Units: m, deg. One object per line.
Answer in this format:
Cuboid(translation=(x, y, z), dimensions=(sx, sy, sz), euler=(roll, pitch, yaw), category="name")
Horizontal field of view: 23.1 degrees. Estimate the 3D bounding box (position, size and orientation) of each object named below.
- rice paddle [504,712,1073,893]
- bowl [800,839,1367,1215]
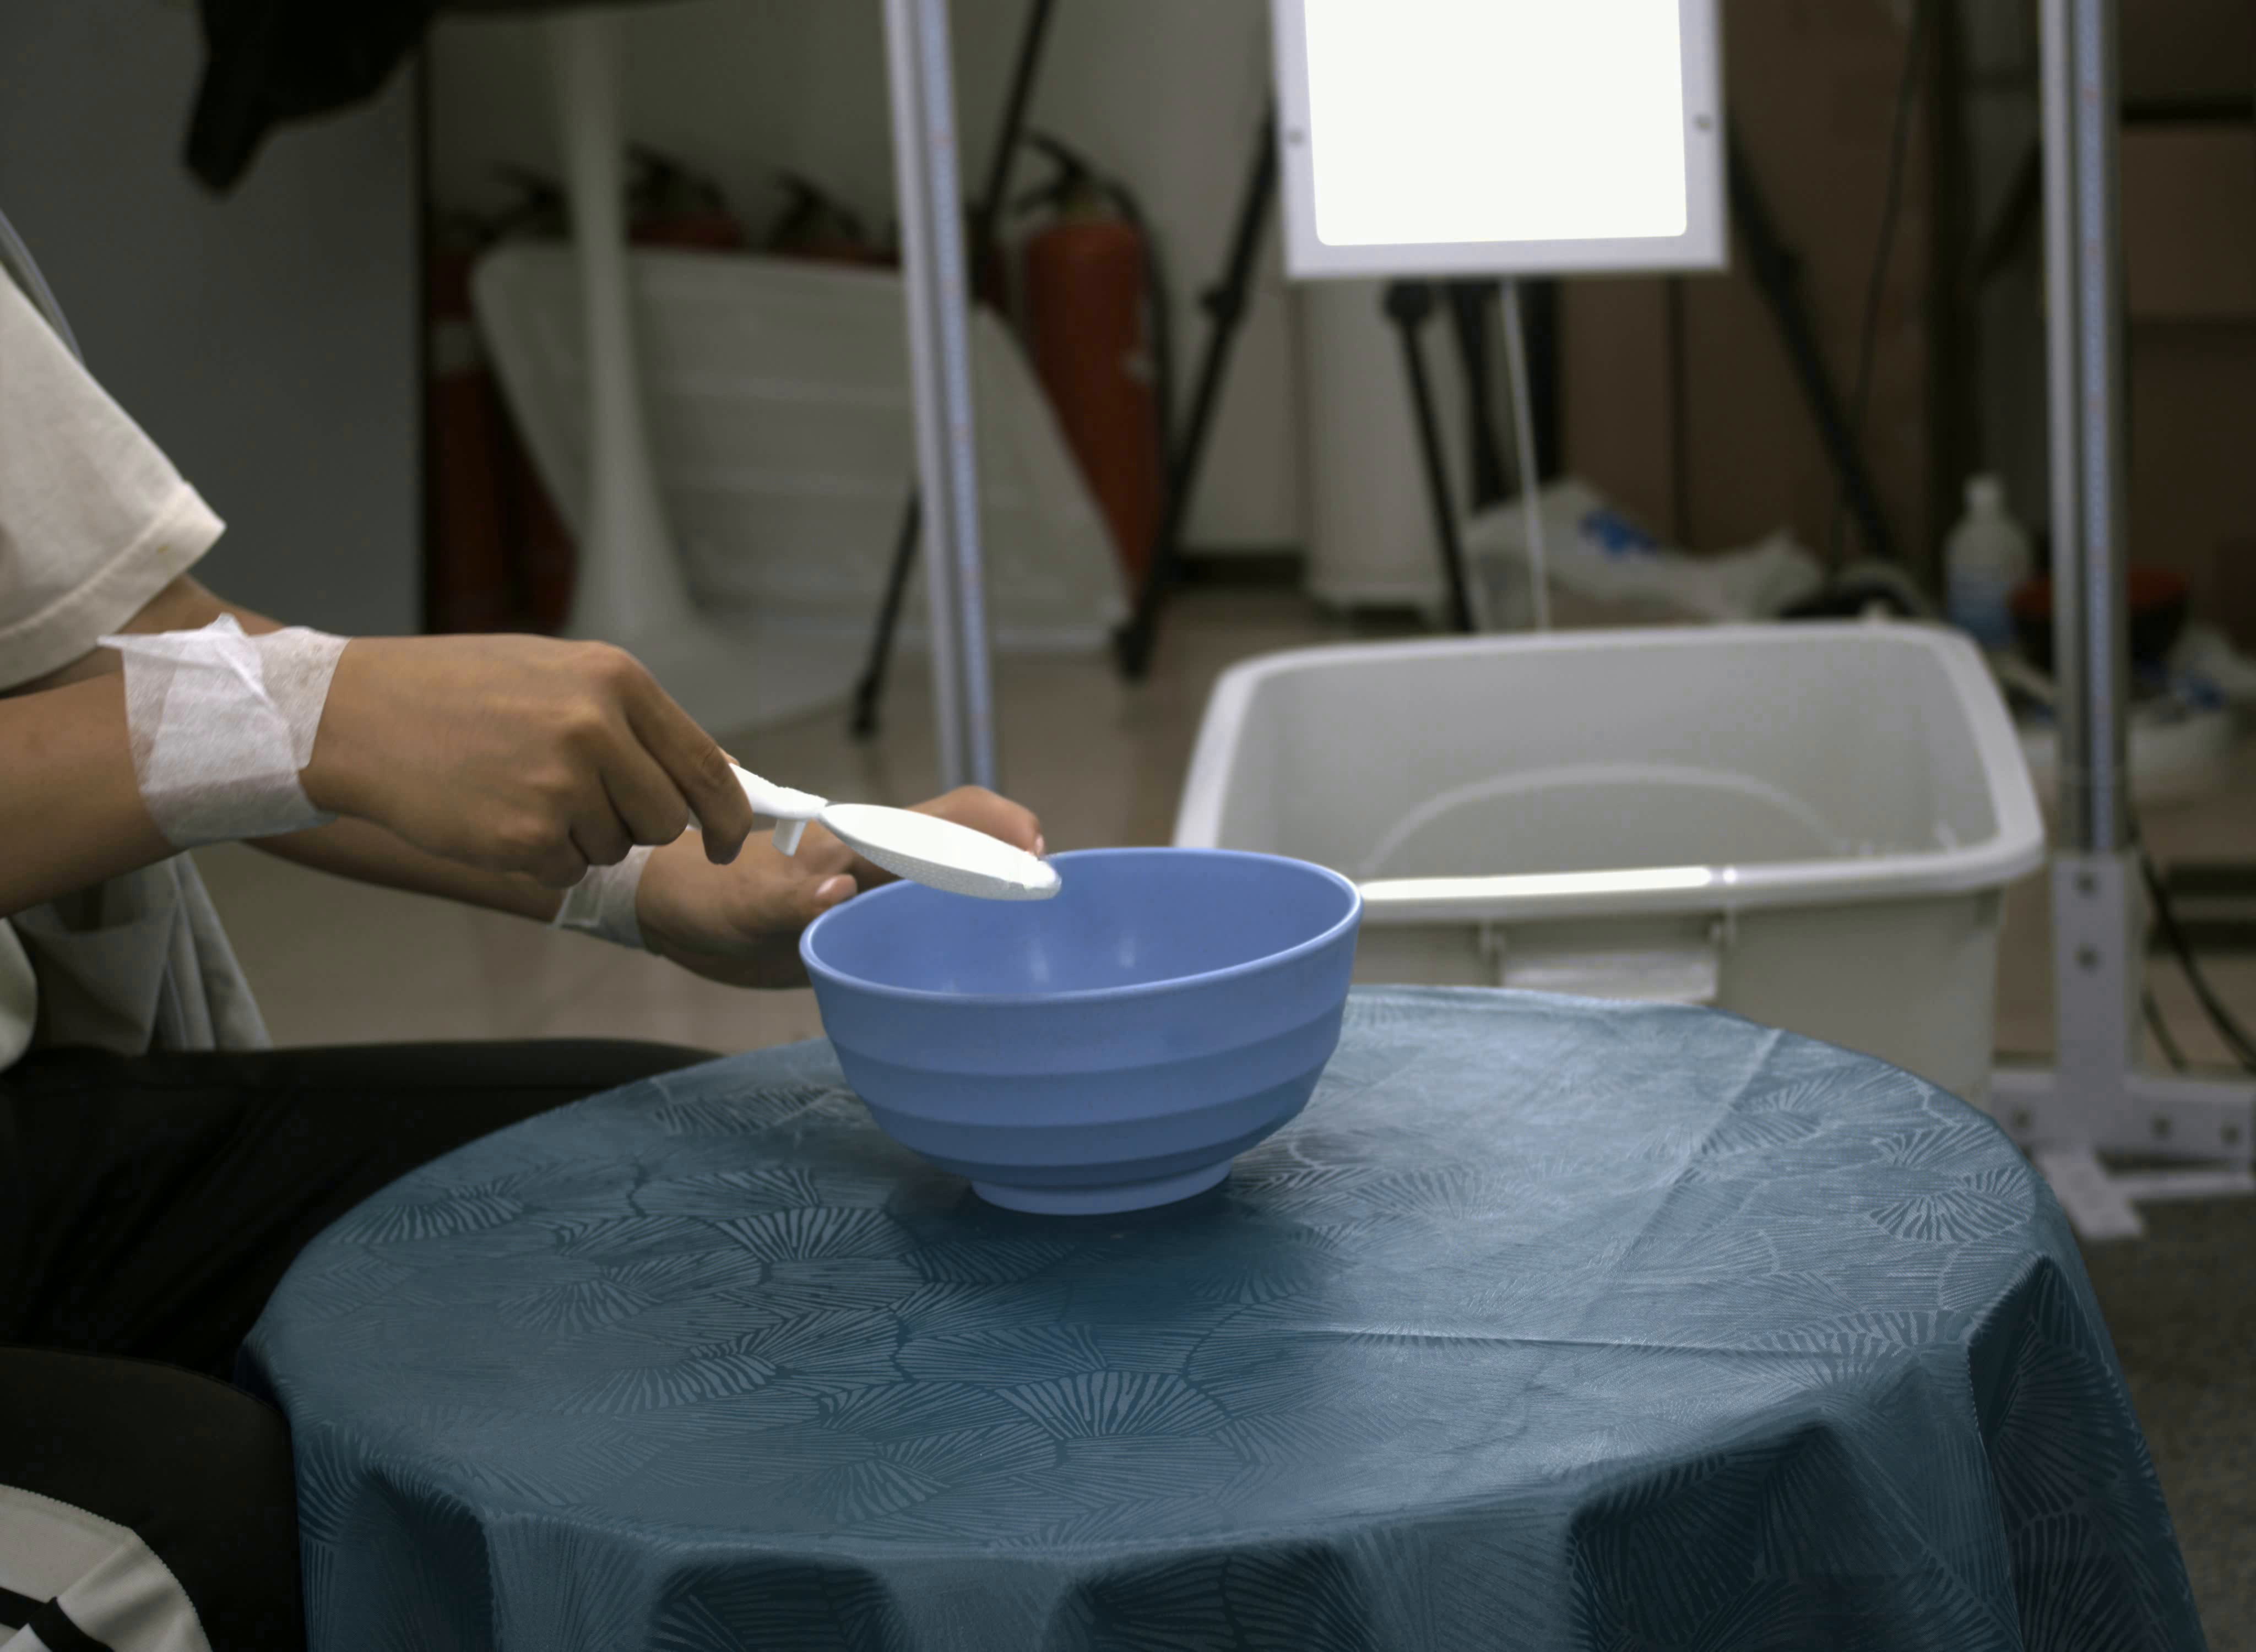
Cuboid(translation=(-0.104, -0.005, 1.768), dimensions=(0.200, 0.029, 0.070), euler=(11, 14, -32), category="rice paddle")
Cuboid(translation=(-0.013, 0.075, 1.908), dimensions=(0.196, 0.096, 0.196), euler=(-4, 15, 0), category="bowl")
